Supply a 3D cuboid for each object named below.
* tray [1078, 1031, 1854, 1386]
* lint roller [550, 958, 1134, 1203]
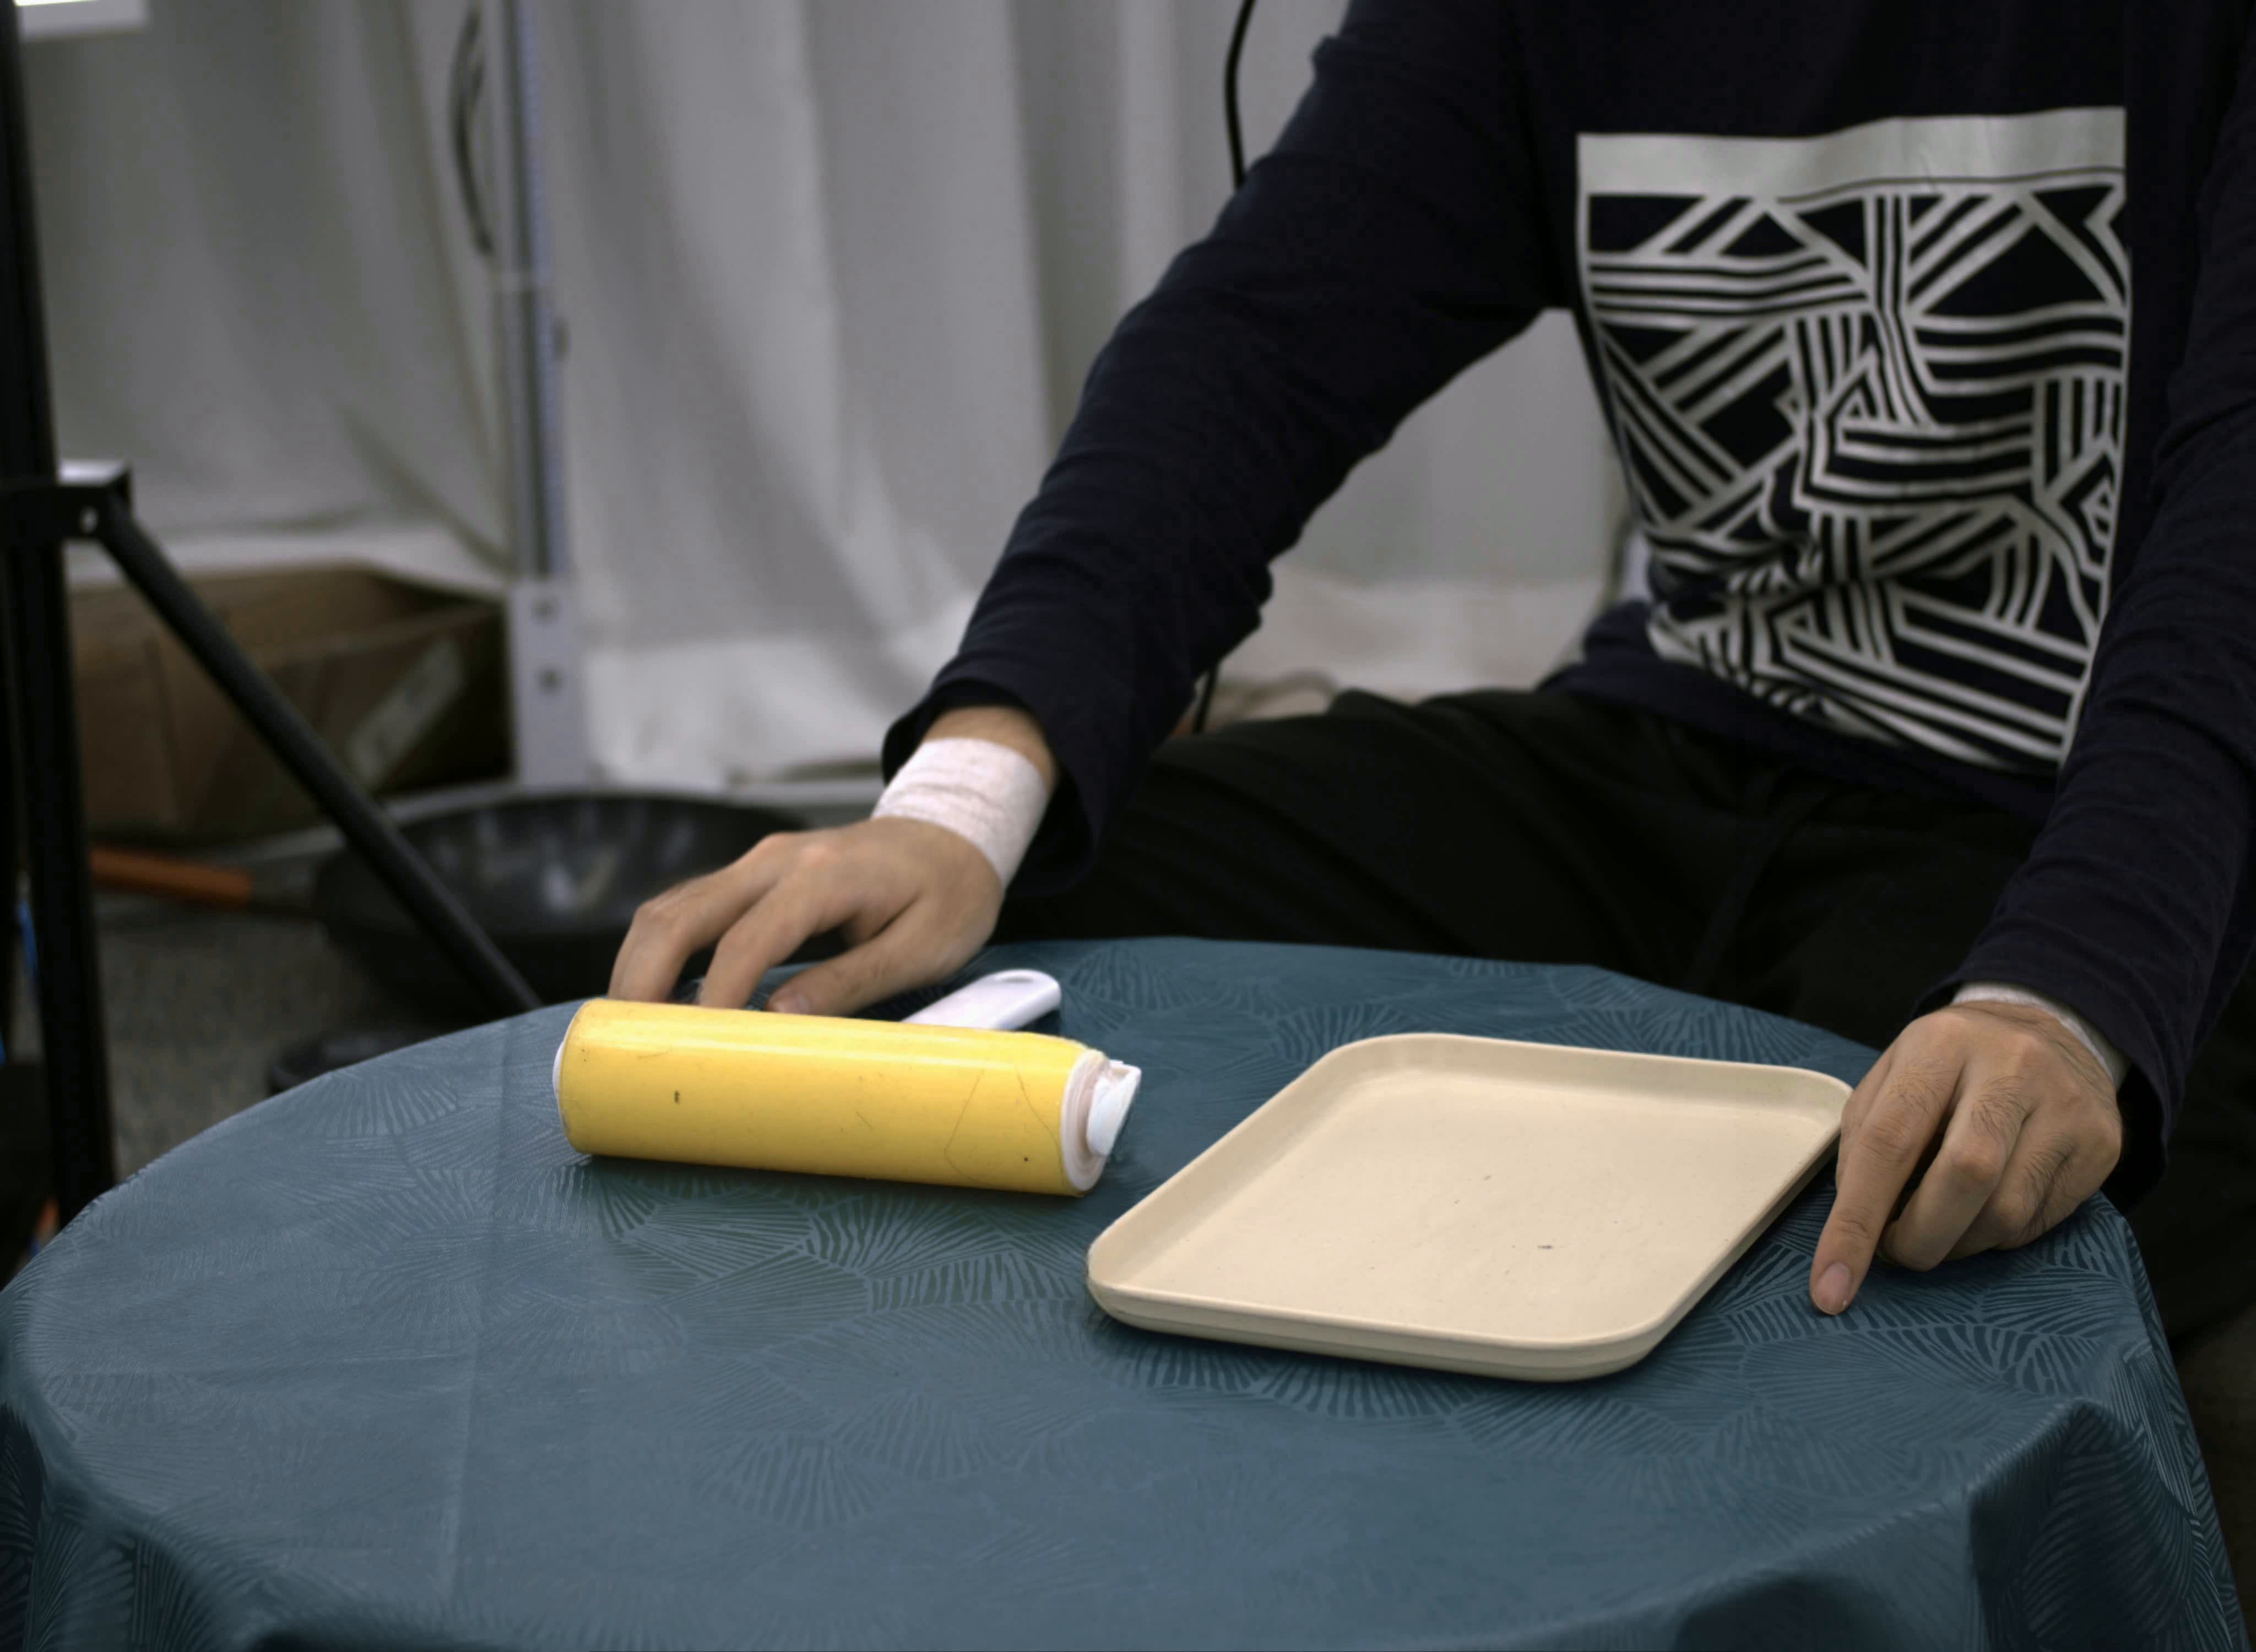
[{"bbox_3d":[0.101,0.108,1.515,0.174,0.017,0.236,6,17,24],"label":"tray"},{"bbox_3d":[-0.068,0.060,1.650,0.176,0.051,0.190,4,21,18],"label":"lint roller"}]
